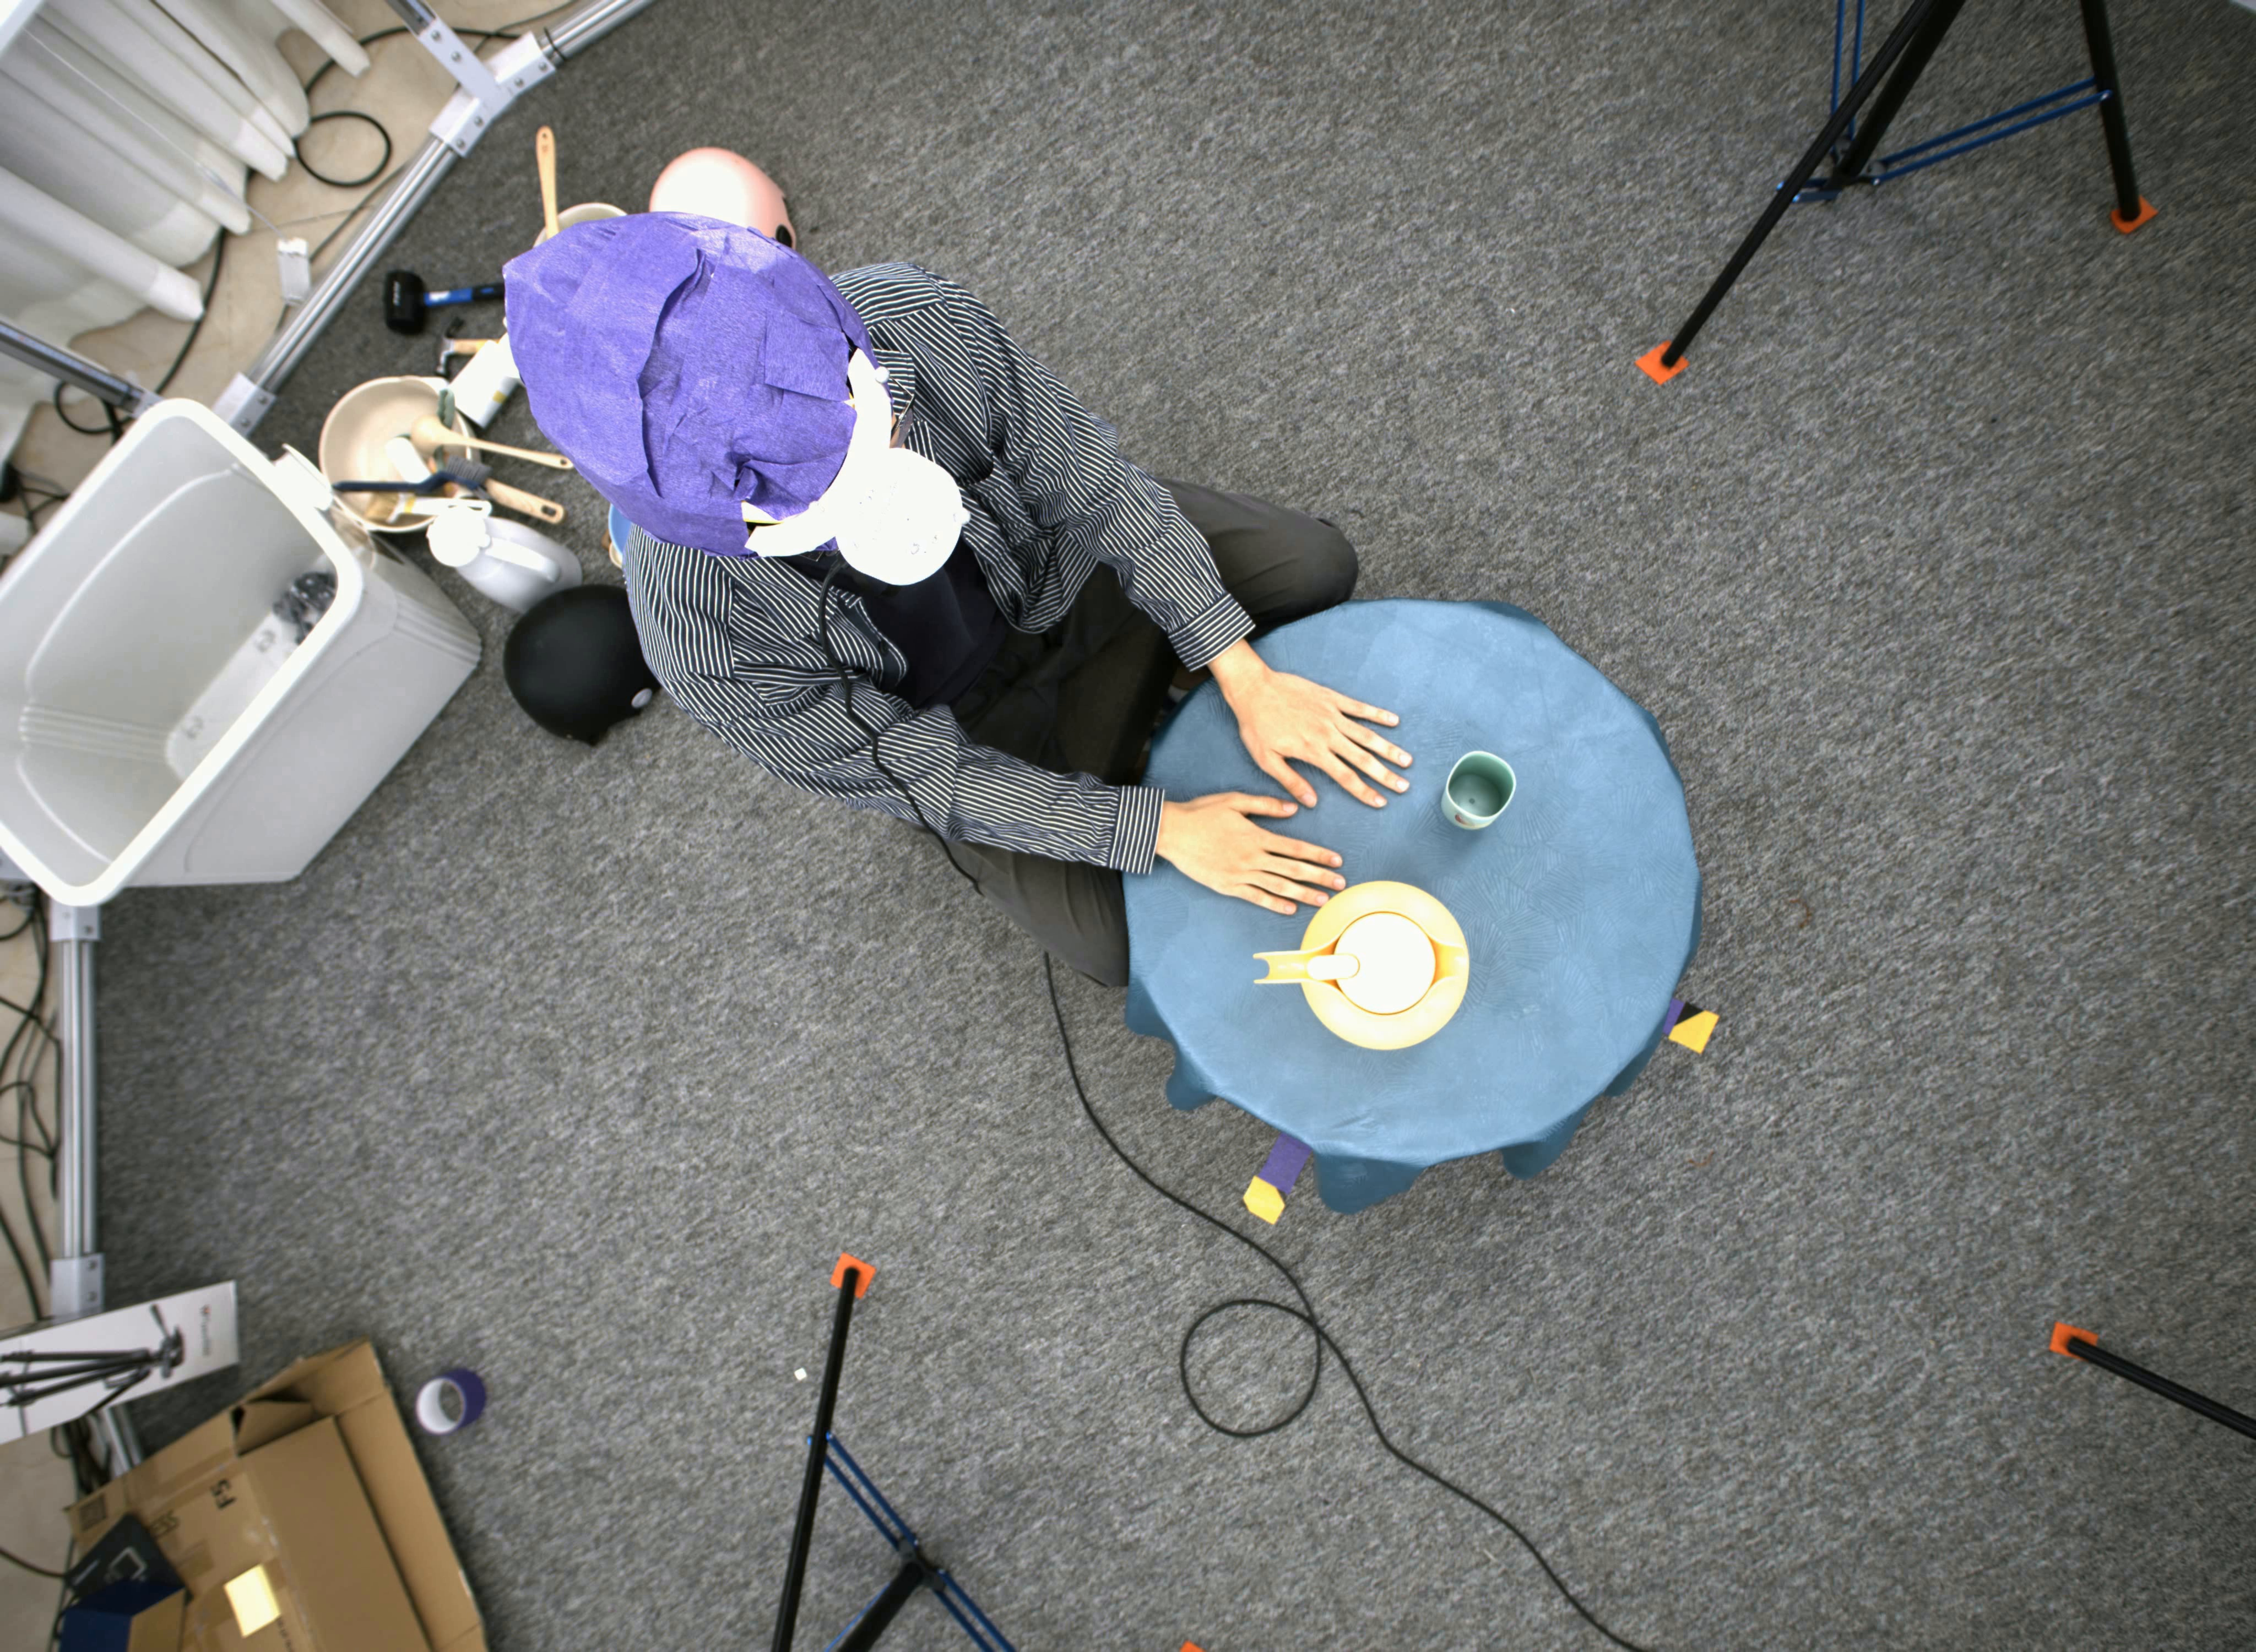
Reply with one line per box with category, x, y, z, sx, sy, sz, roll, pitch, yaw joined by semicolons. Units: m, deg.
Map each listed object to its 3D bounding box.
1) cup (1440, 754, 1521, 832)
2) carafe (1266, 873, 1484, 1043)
cup;0.349;-0.034;1.375;0.067;0.132;0.066;0;86;8
carafe;0.236;0.124;1.321;0.203;0.261;0.162;-5;84;9
